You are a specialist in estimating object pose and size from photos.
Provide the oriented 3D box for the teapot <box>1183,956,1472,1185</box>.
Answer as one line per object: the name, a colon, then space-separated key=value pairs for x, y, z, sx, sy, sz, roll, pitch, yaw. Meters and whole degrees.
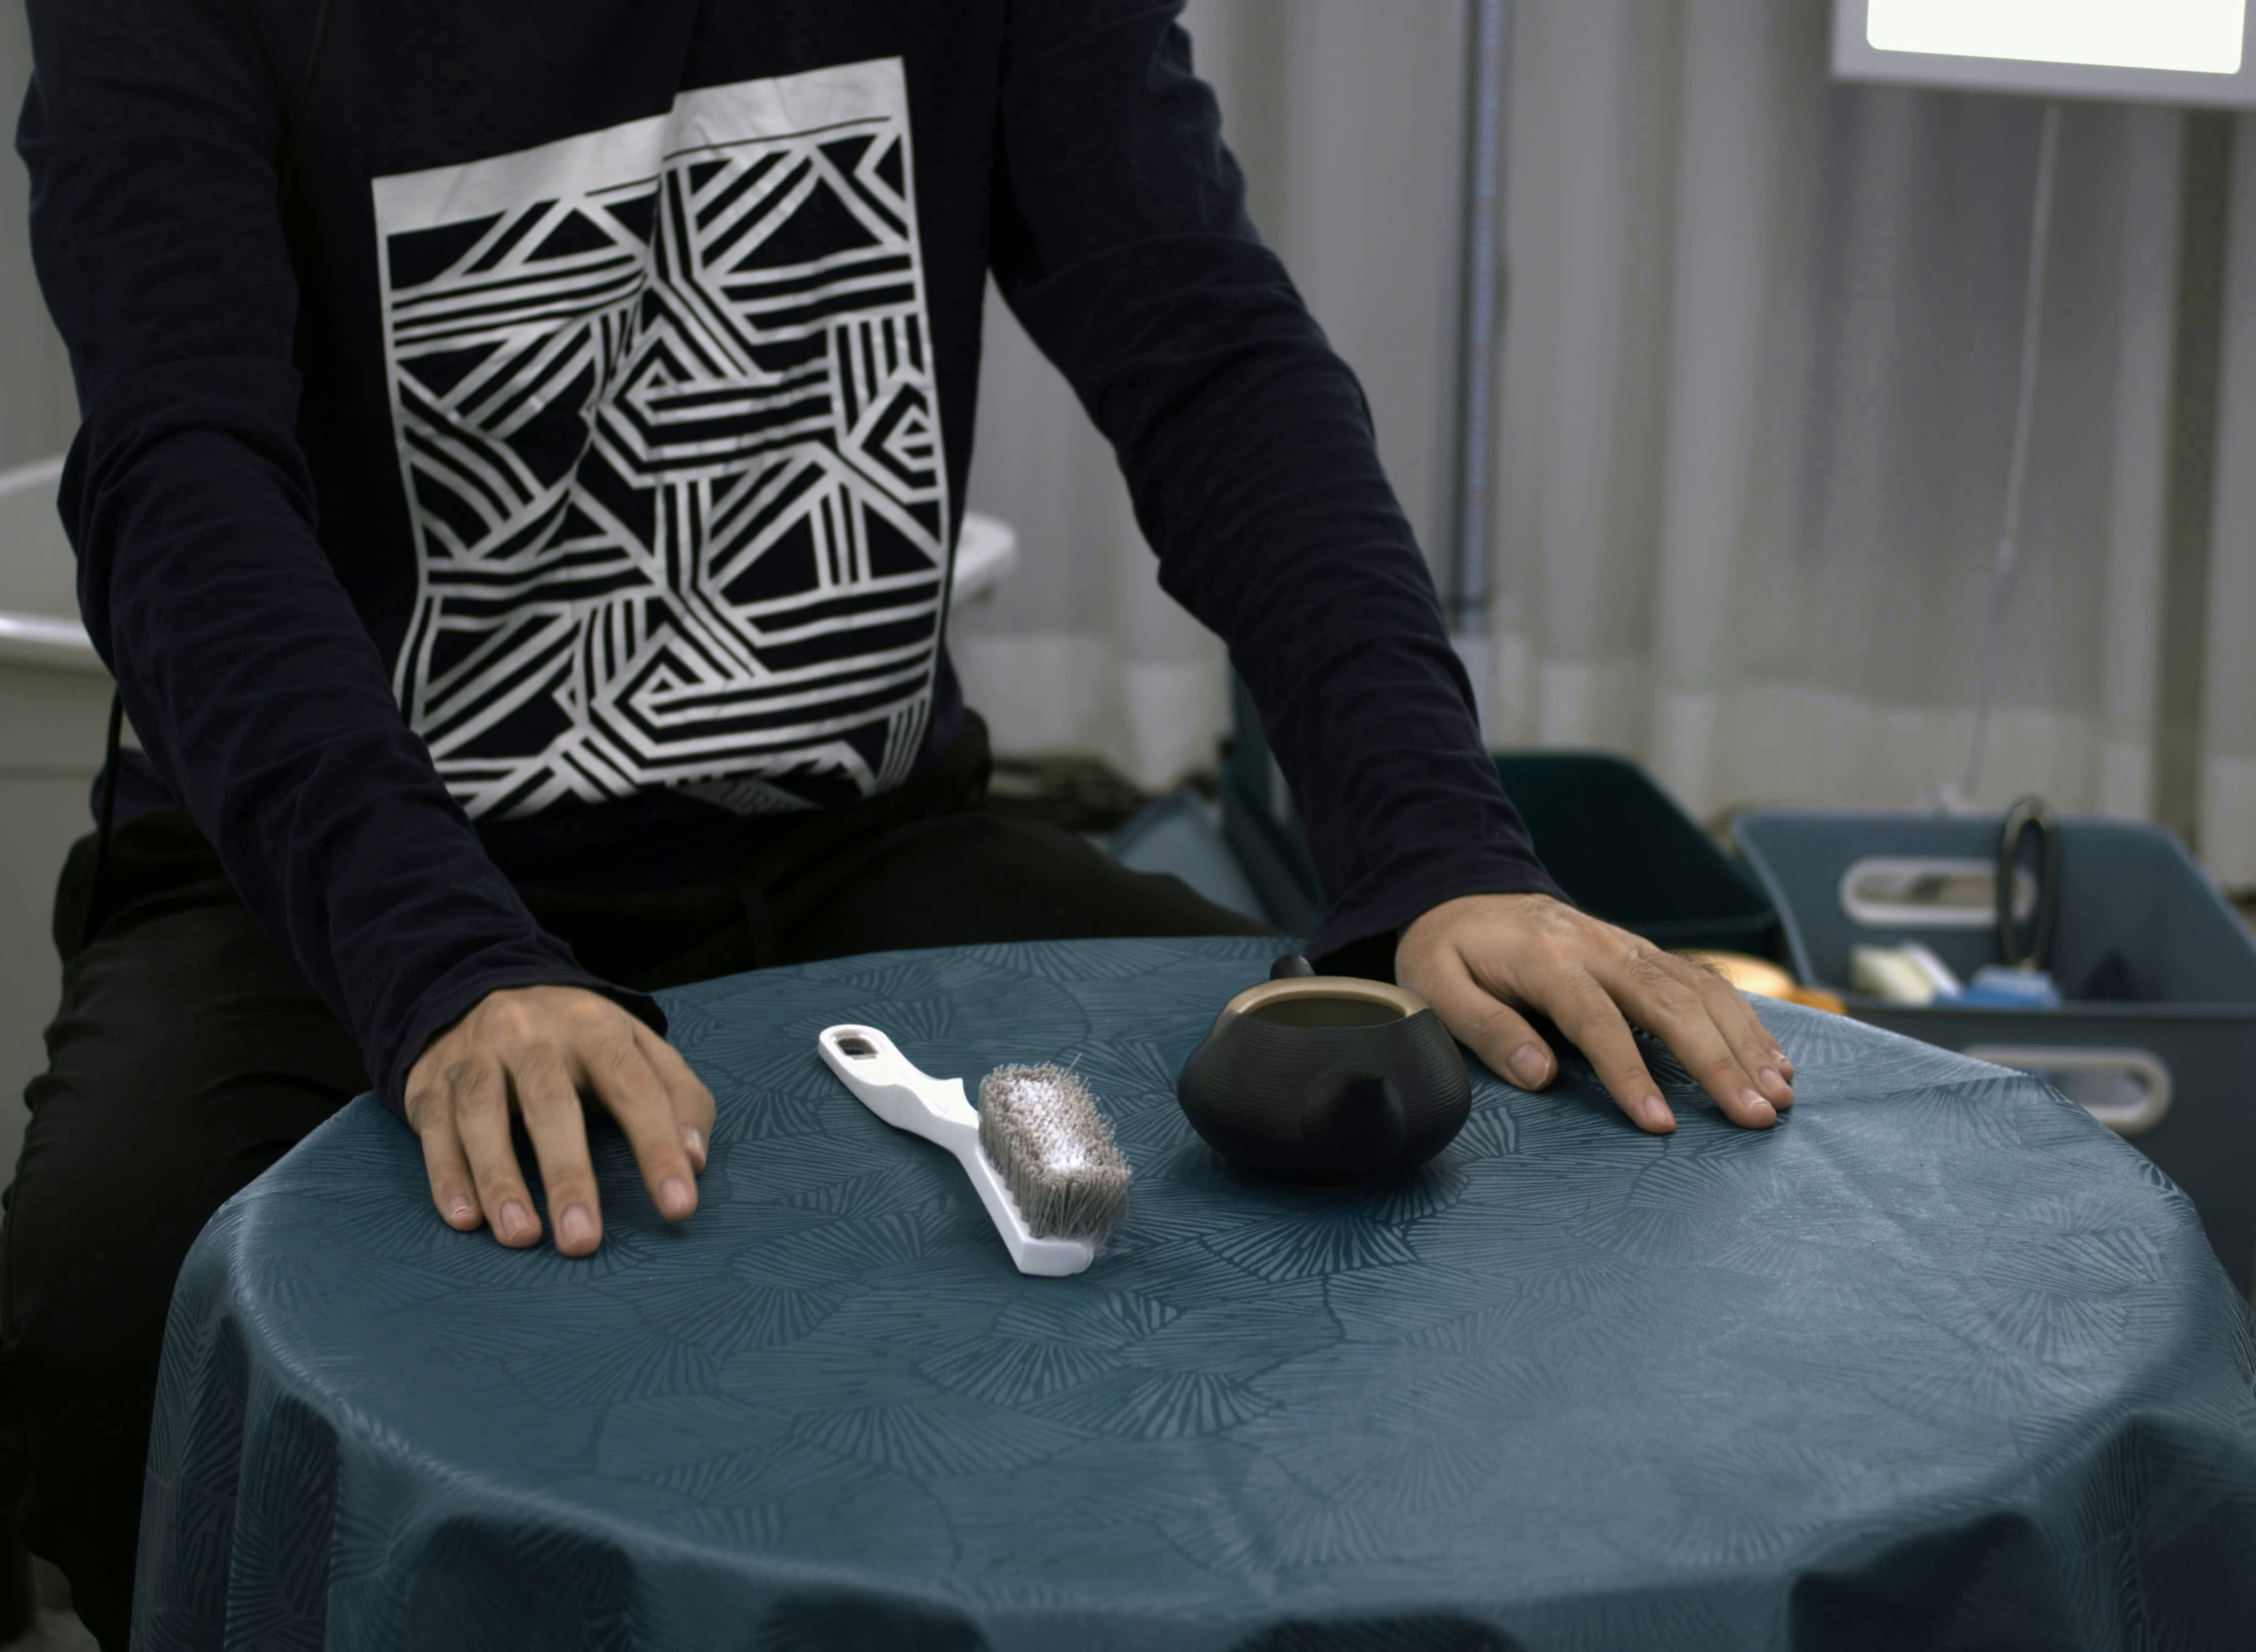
teapot: x=0.062 y=0.079 z=1.648 sx=0.091 sy=0.053 sz=0.132 roll=0 pitch=15 yaw=-12

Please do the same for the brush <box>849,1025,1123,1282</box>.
brush: x=-0.049 y=0.082 z=1.645 sx=0.034 sy=0.050 sz=0.241 roll=-7 pitch=17 yaw=-16
